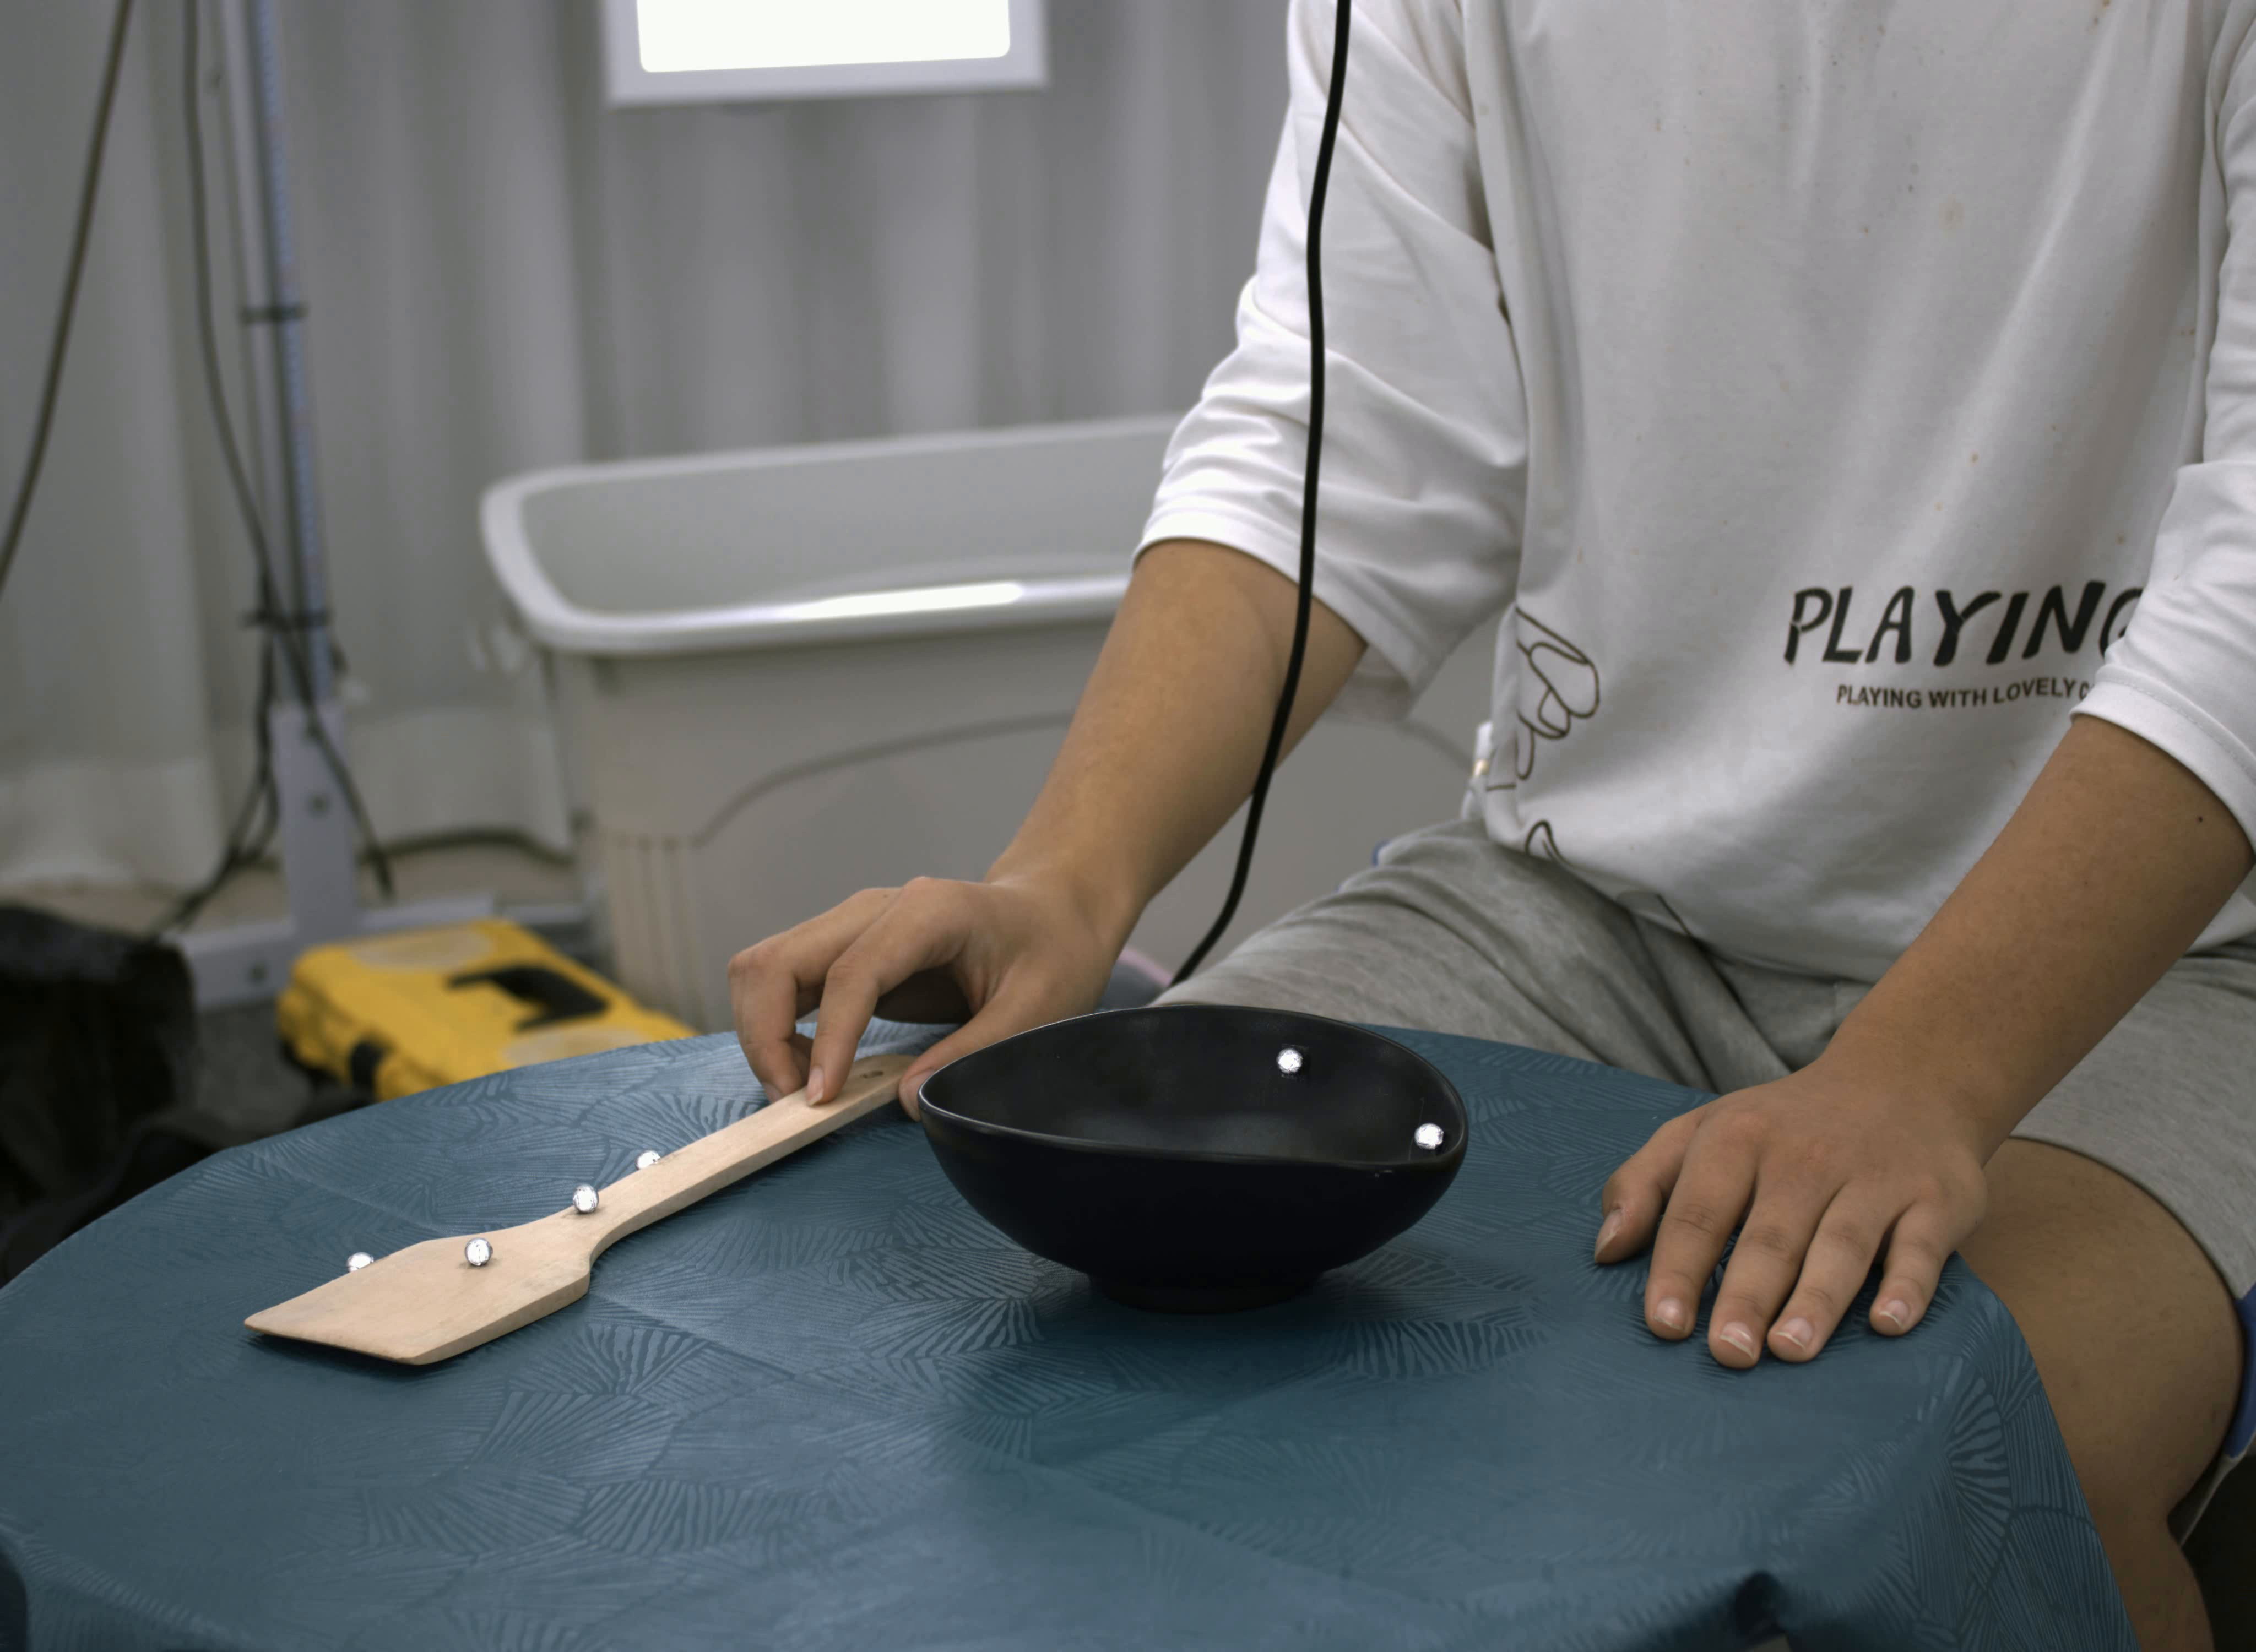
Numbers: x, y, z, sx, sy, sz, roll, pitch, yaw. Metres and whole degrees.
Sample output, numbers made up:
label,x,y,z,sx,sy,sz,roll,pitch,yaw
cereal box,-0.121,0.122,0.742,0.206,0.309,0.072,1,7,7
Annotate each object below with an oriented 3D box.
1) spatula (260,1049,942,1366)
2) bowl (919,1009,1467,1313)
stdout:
label,x,y,z,sx,sy,sz,roll,pitch,yaw
spatula,-0.152,0.116,1.716,0.072,0.010,0.293,6,19,34
bowl,0.020,0.104,1.632,0.170,0.066,0.137,5,16,21
